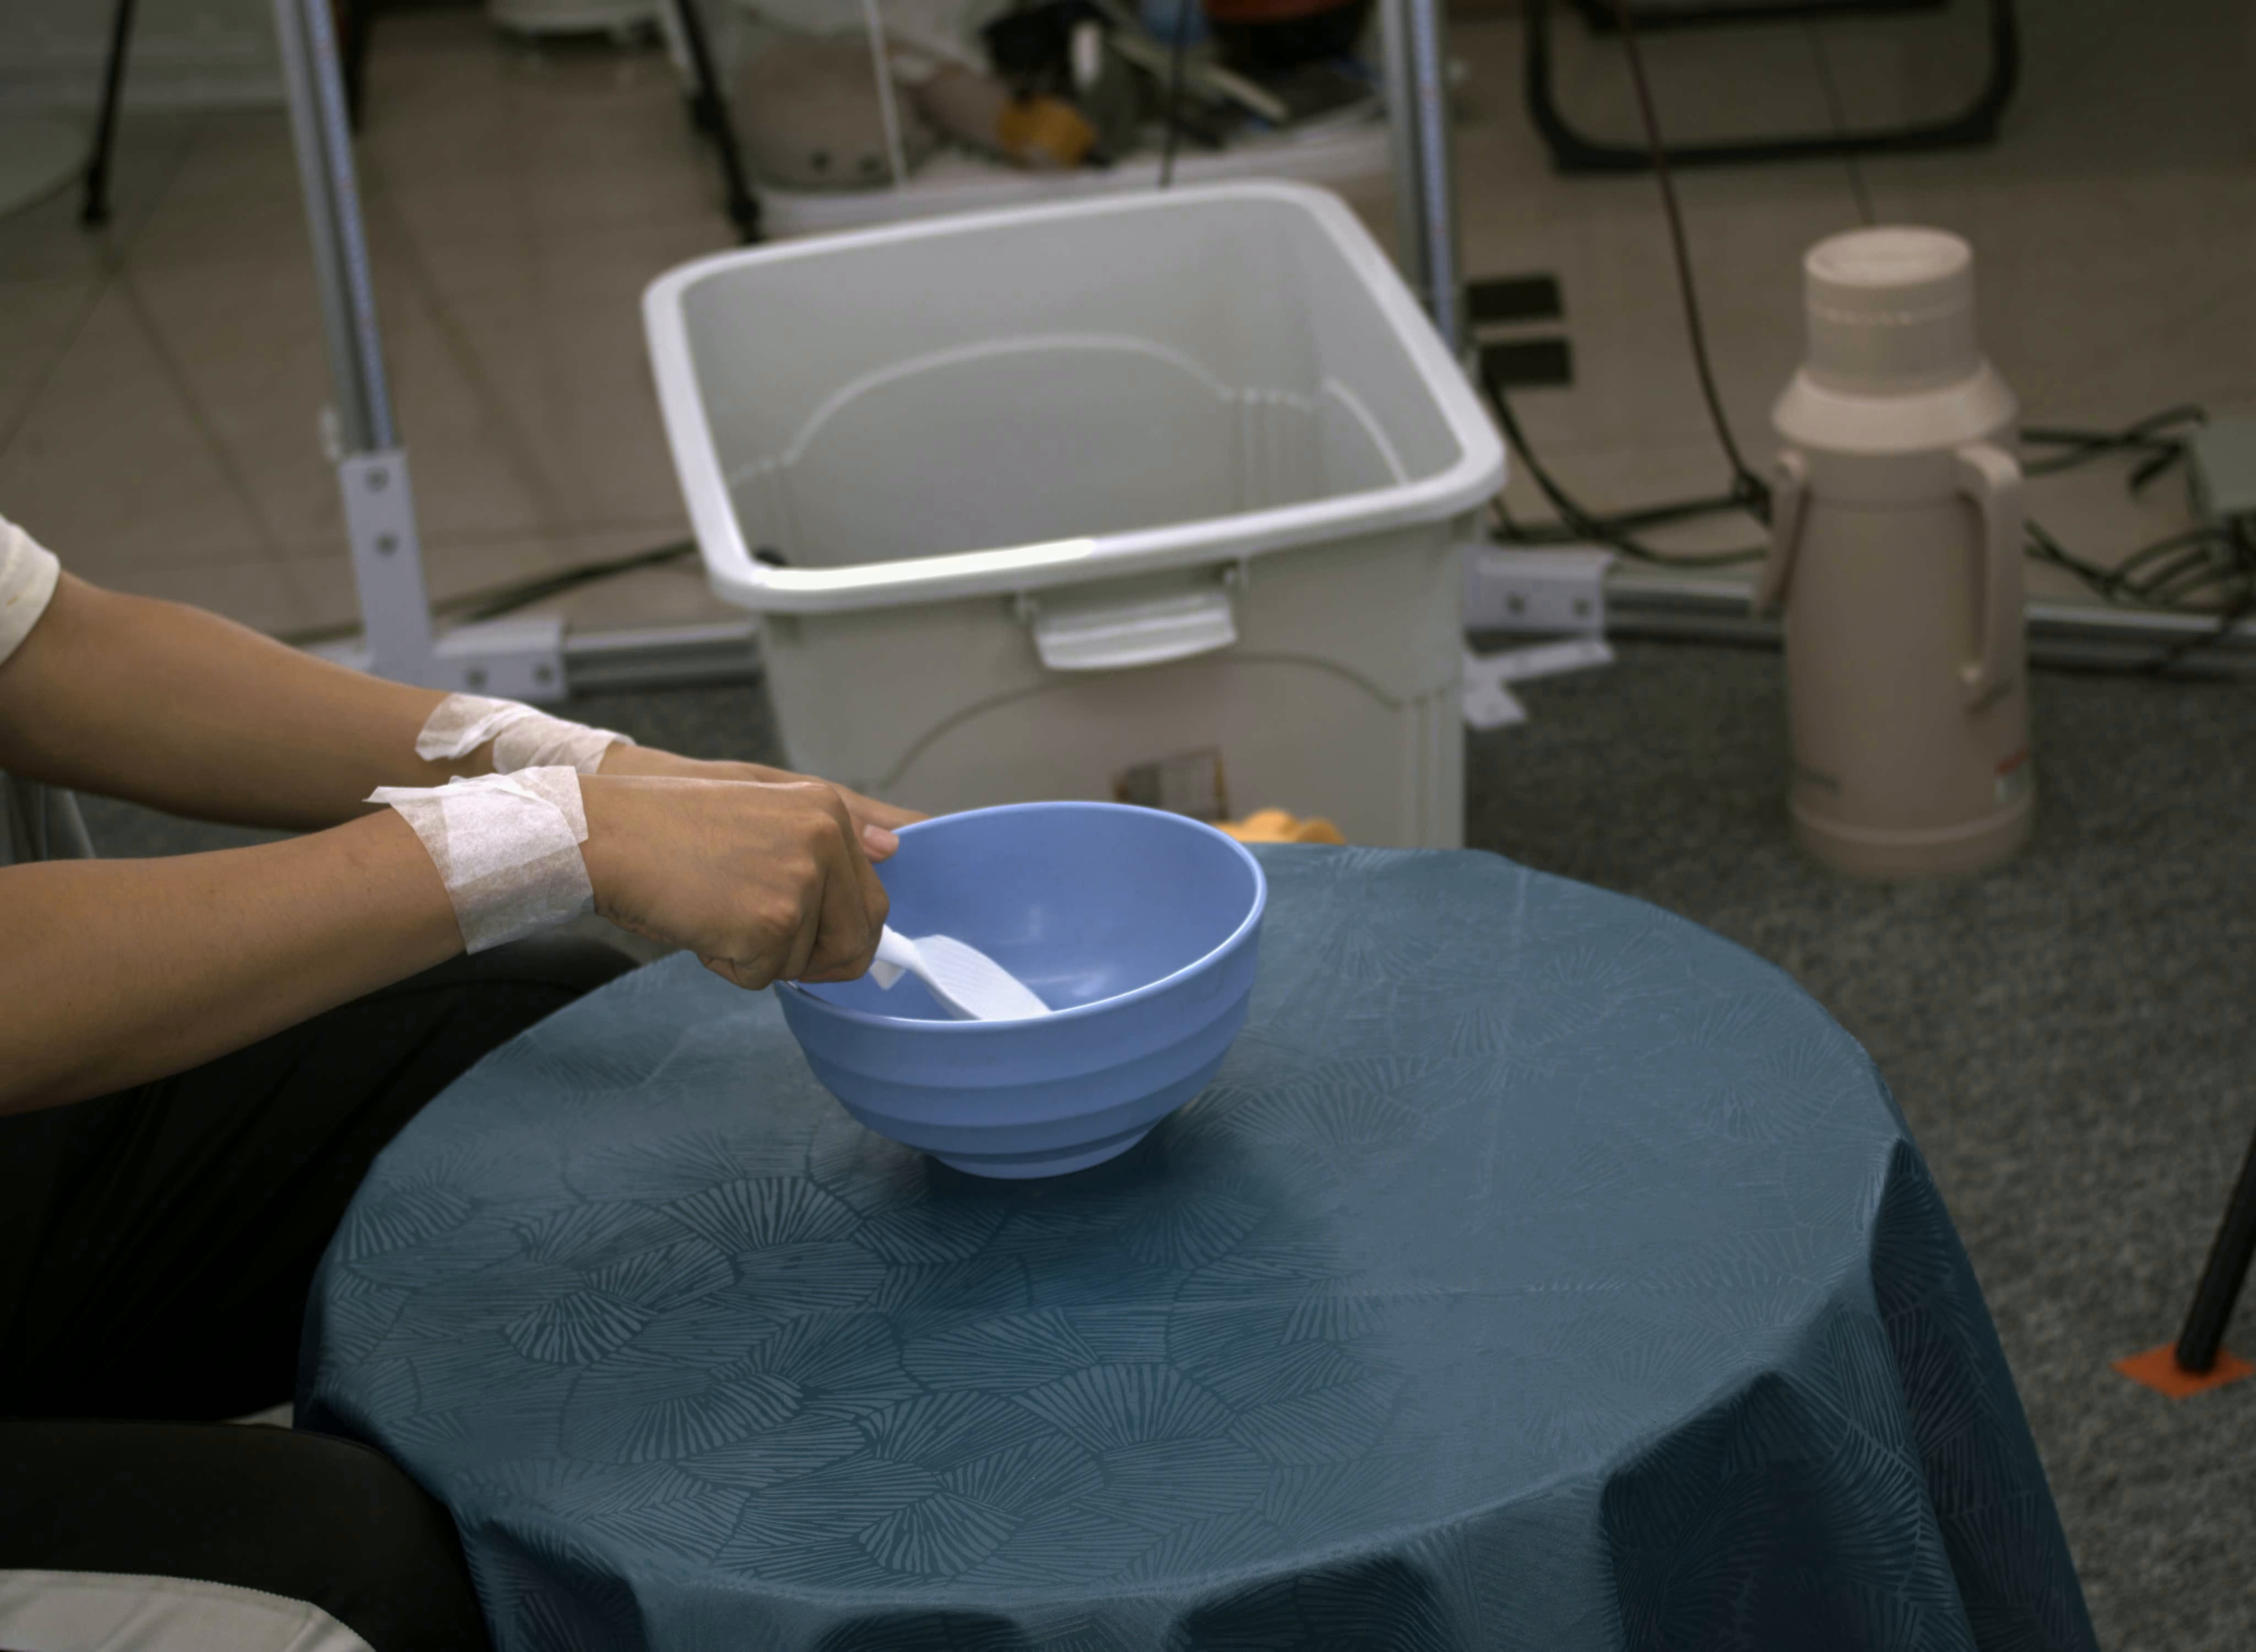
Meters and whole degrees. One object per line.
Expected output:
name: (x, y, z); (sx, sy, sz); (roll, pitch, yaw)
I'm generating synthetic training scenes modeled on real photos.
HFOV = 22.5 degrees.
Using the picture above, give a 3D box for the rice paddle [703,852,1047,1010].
rice paddle: (-0.086, 0.049, 2.170); (0.207, 0.029, 0.068); (24, 22, -51)

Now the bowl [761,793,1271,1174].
bowl: (-0.040, 0.071, 2.188); (0.196, 0.097, 0.193); (-4, 26, 2)
